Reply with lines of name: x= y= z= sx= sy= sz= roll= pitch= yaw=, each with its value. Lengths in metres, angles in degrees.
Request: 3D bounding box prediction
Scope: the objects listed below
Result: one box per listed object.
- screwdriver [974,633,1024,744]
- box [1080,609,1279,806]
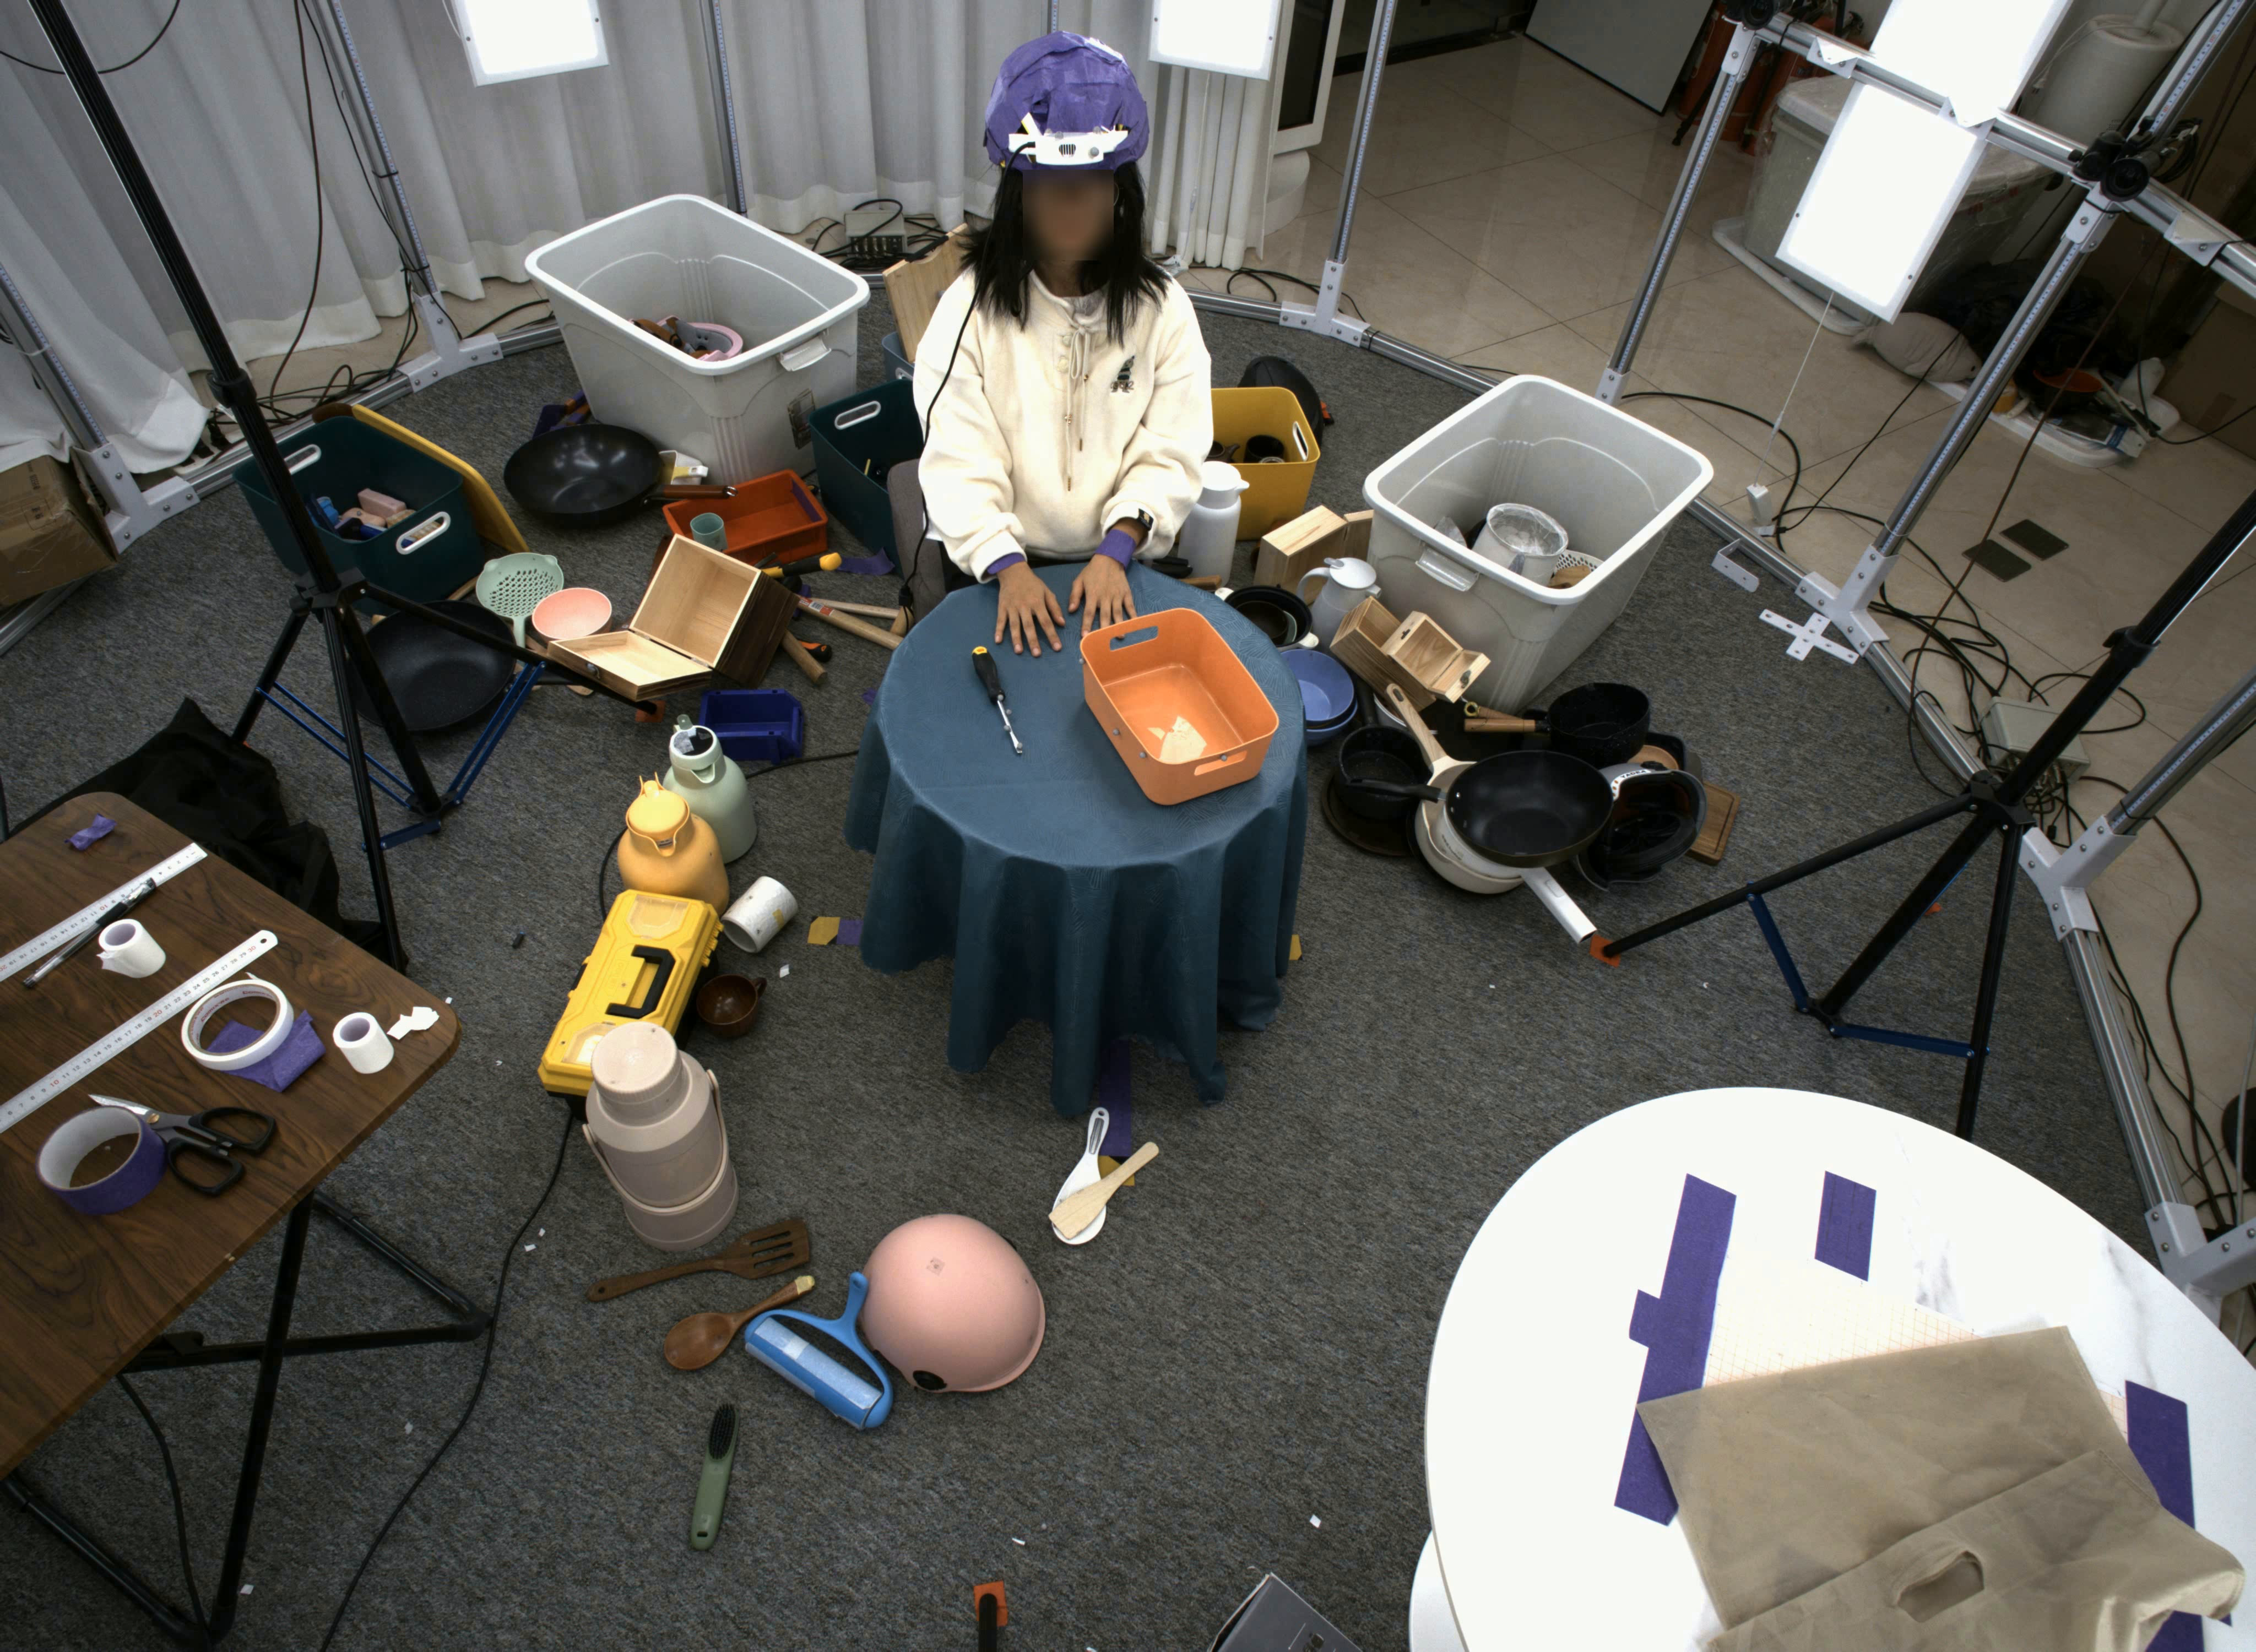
screwdriver: x=-0.175 y=-0.193 z=1.797 sx=0.031 sy=0.031 sz=0.202 roll=-15 pitch=61 yaw=-17
box: x=0.064 y=-0.161 z=1.747 sx=0.200 sy=0.100 sz=0.279 roll=-19 pitch=53 yaw=-18
